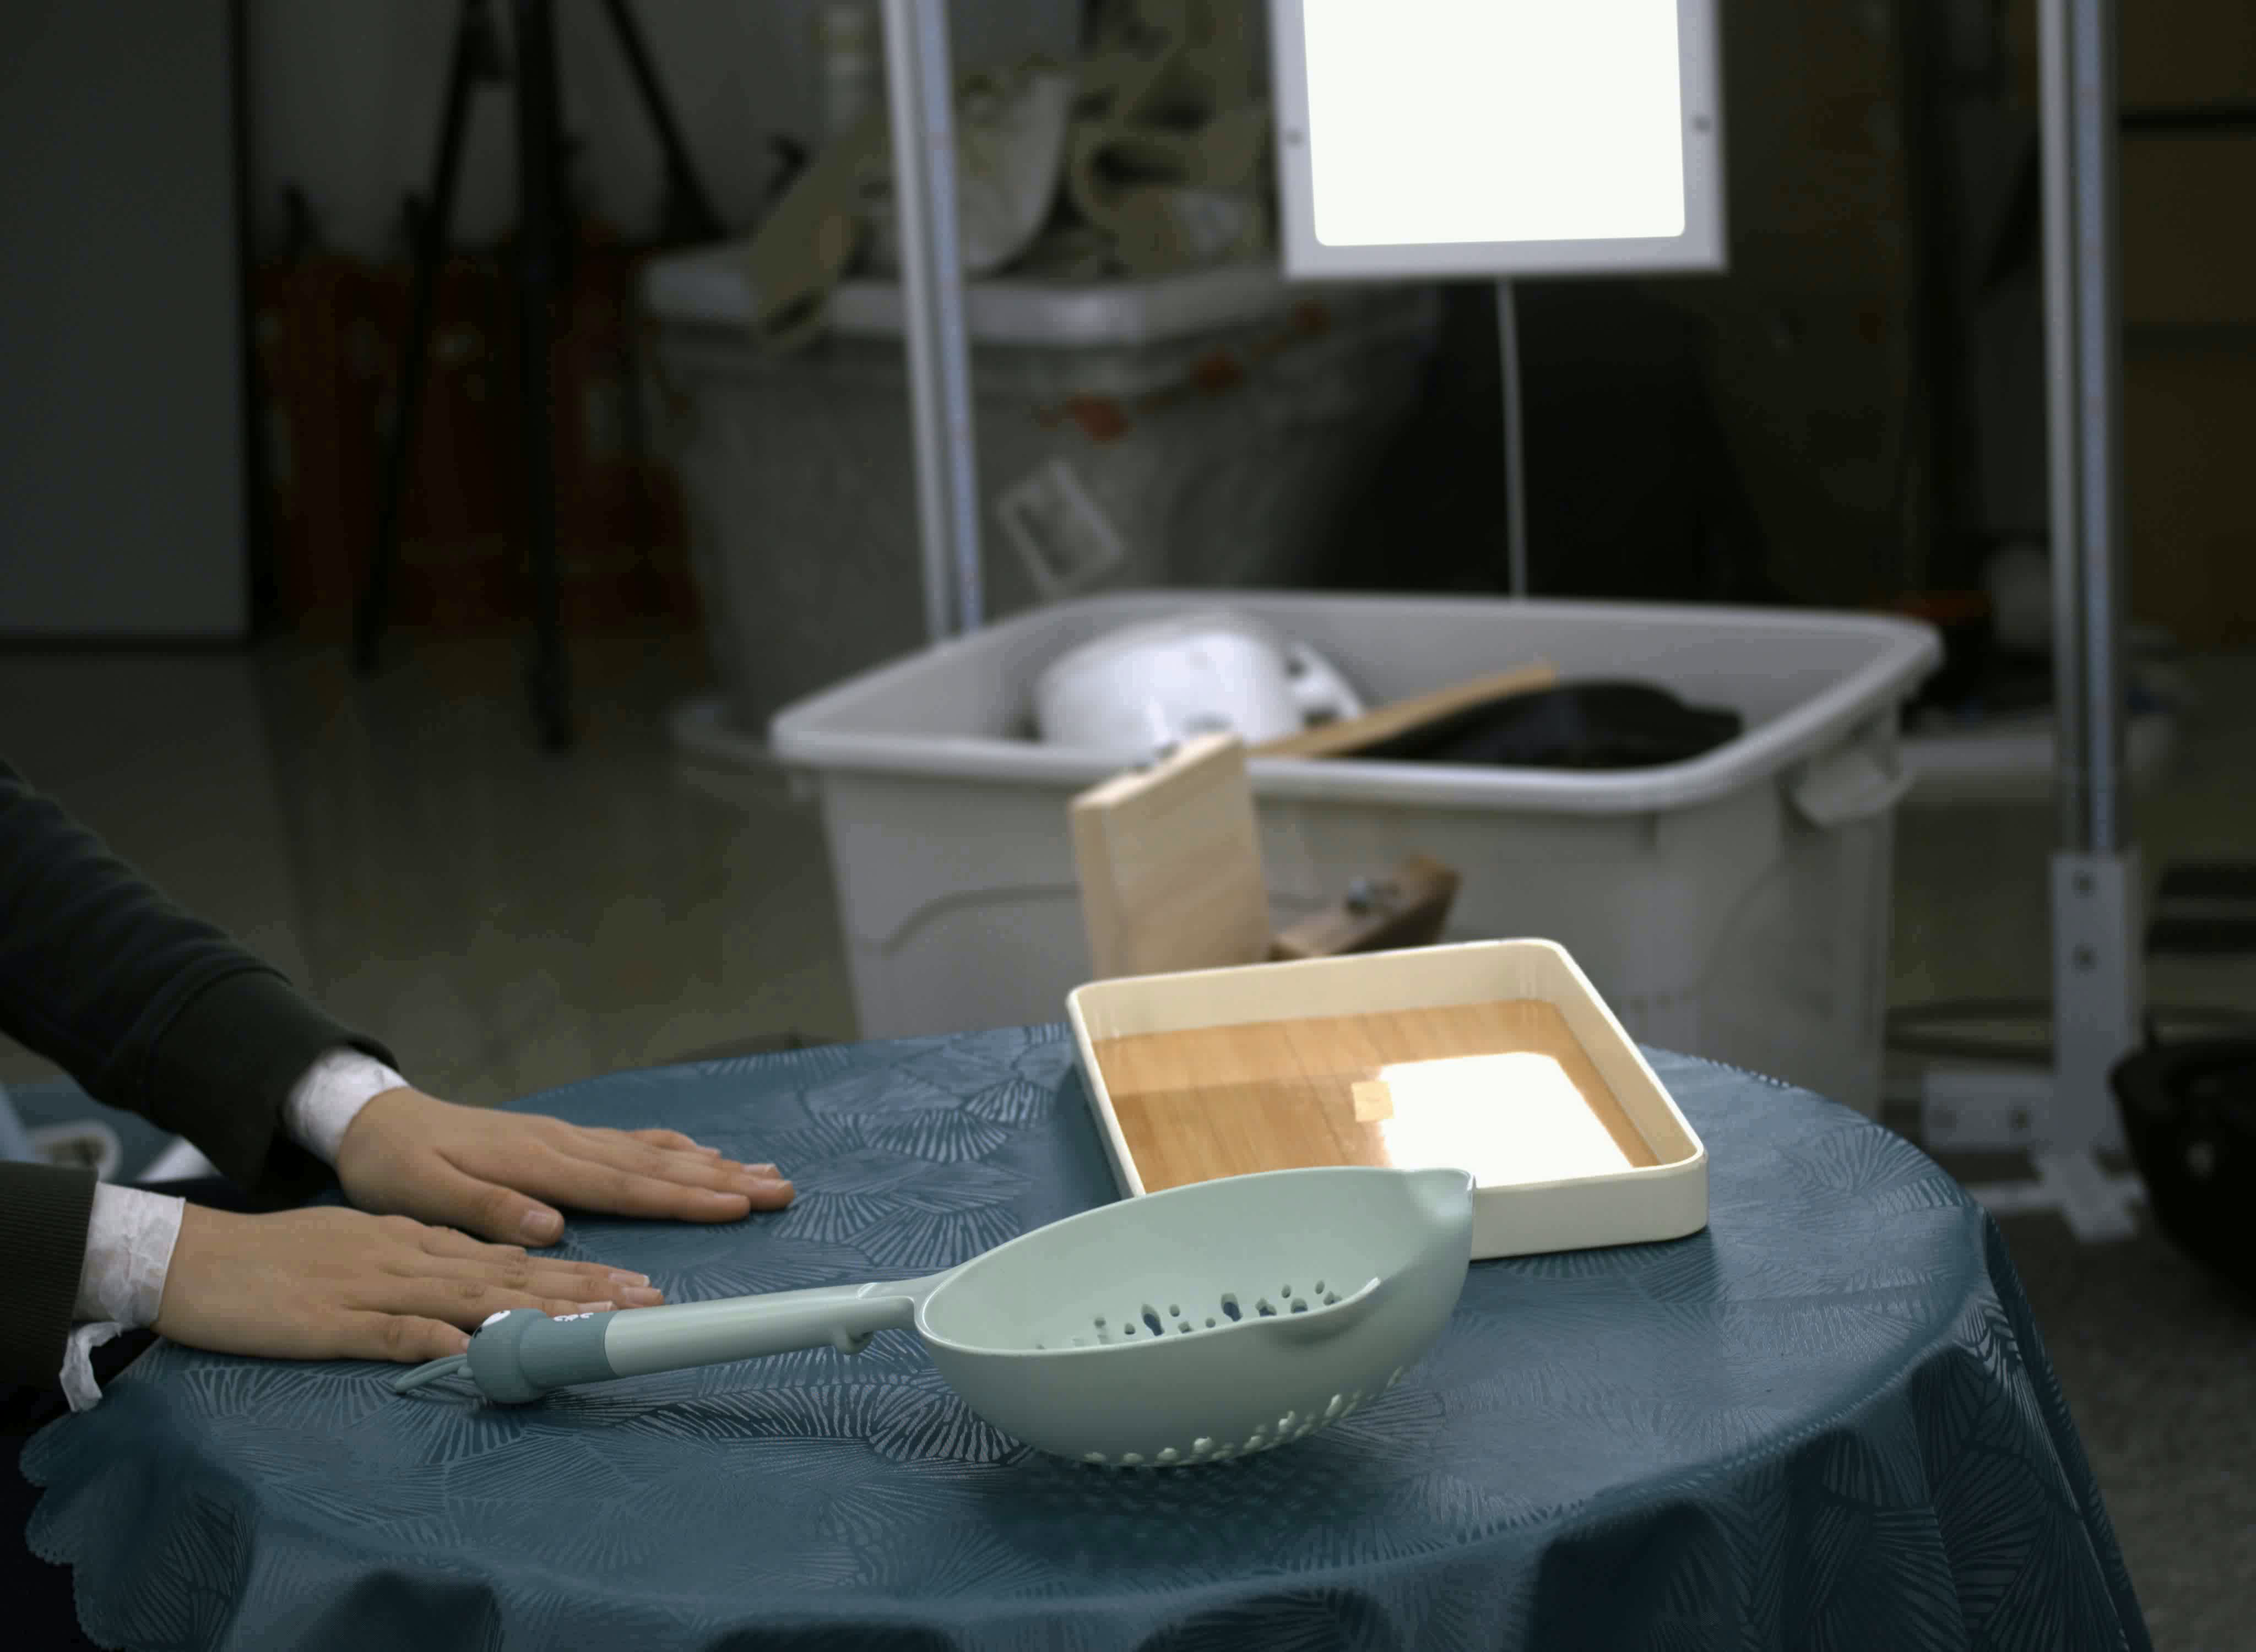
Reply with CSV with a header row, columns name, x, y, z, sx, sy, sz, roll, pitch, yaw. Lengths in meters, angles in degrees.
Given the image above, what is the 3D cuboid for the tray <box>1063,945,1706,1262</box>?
name,x,y,z,sx,sy,sz,roll,pitch,yaw
tray,0.084,0.098,1.931,0.190,0.027,0.301,-6,13,-4

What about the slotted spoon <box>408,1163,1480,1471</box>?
name,x,y,z,sx,sy,sz,roll,pitch,yaw
slotted spoon,-0.065,0.152,1.683,0.364,0.075,0.166,1,14,23
